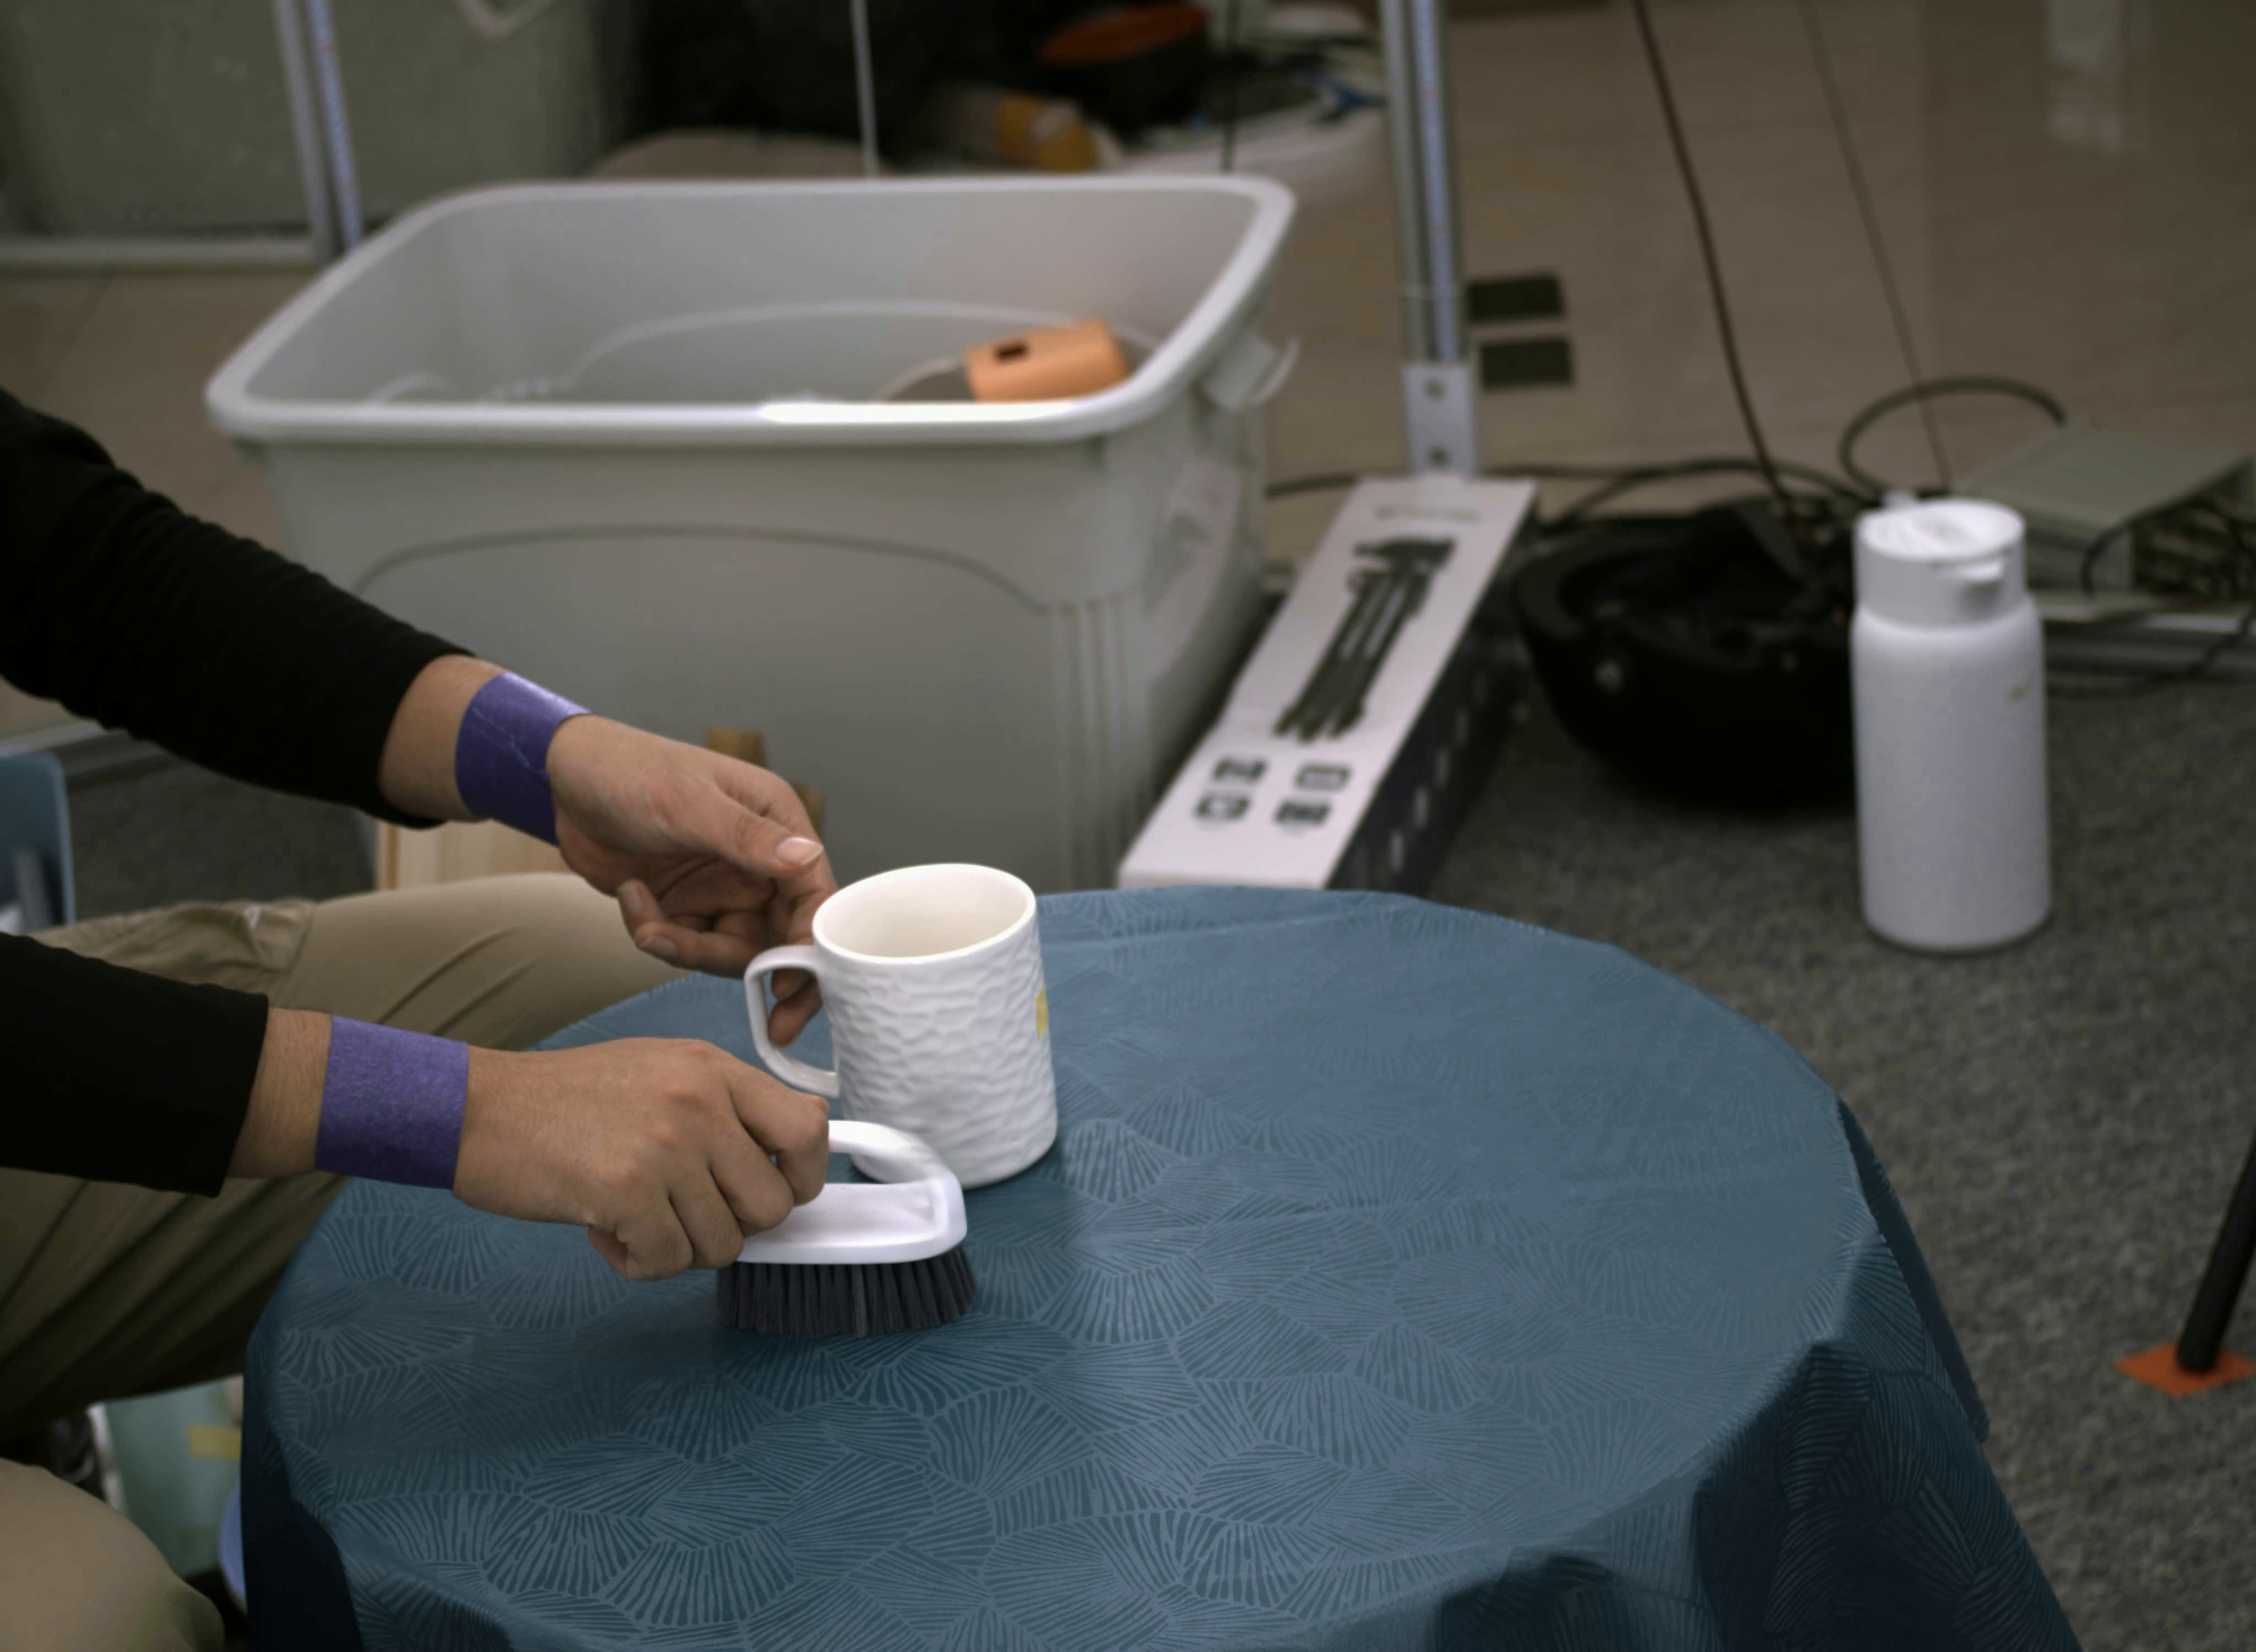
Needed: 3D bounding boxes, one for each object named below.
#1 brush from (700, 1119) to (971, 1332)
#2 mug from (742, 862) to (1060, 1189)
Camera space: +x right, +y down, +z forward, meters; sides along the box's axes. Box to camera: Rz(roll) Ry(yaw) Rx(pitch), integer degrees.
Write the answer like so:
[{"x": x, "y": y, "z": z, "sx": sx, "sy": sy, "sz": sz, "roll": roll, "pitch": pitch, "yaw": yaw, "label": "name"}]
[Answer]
[{"x": -0.109, "y": 0.142, "z": 2.077, "sx": 0.099, "sy": 0.073, "sz": 0.049, "roll": 1, "pitch": 25, "yaw": 14, "label": "brush"}, {"x": -0.088, "y": 0.077, "z": 2.177, "sx": 0.118, "sy": 0.103, "sz": 0.084, "roll": -1, "pitch": 26, "yaw": 13, "label": "mug"}]
